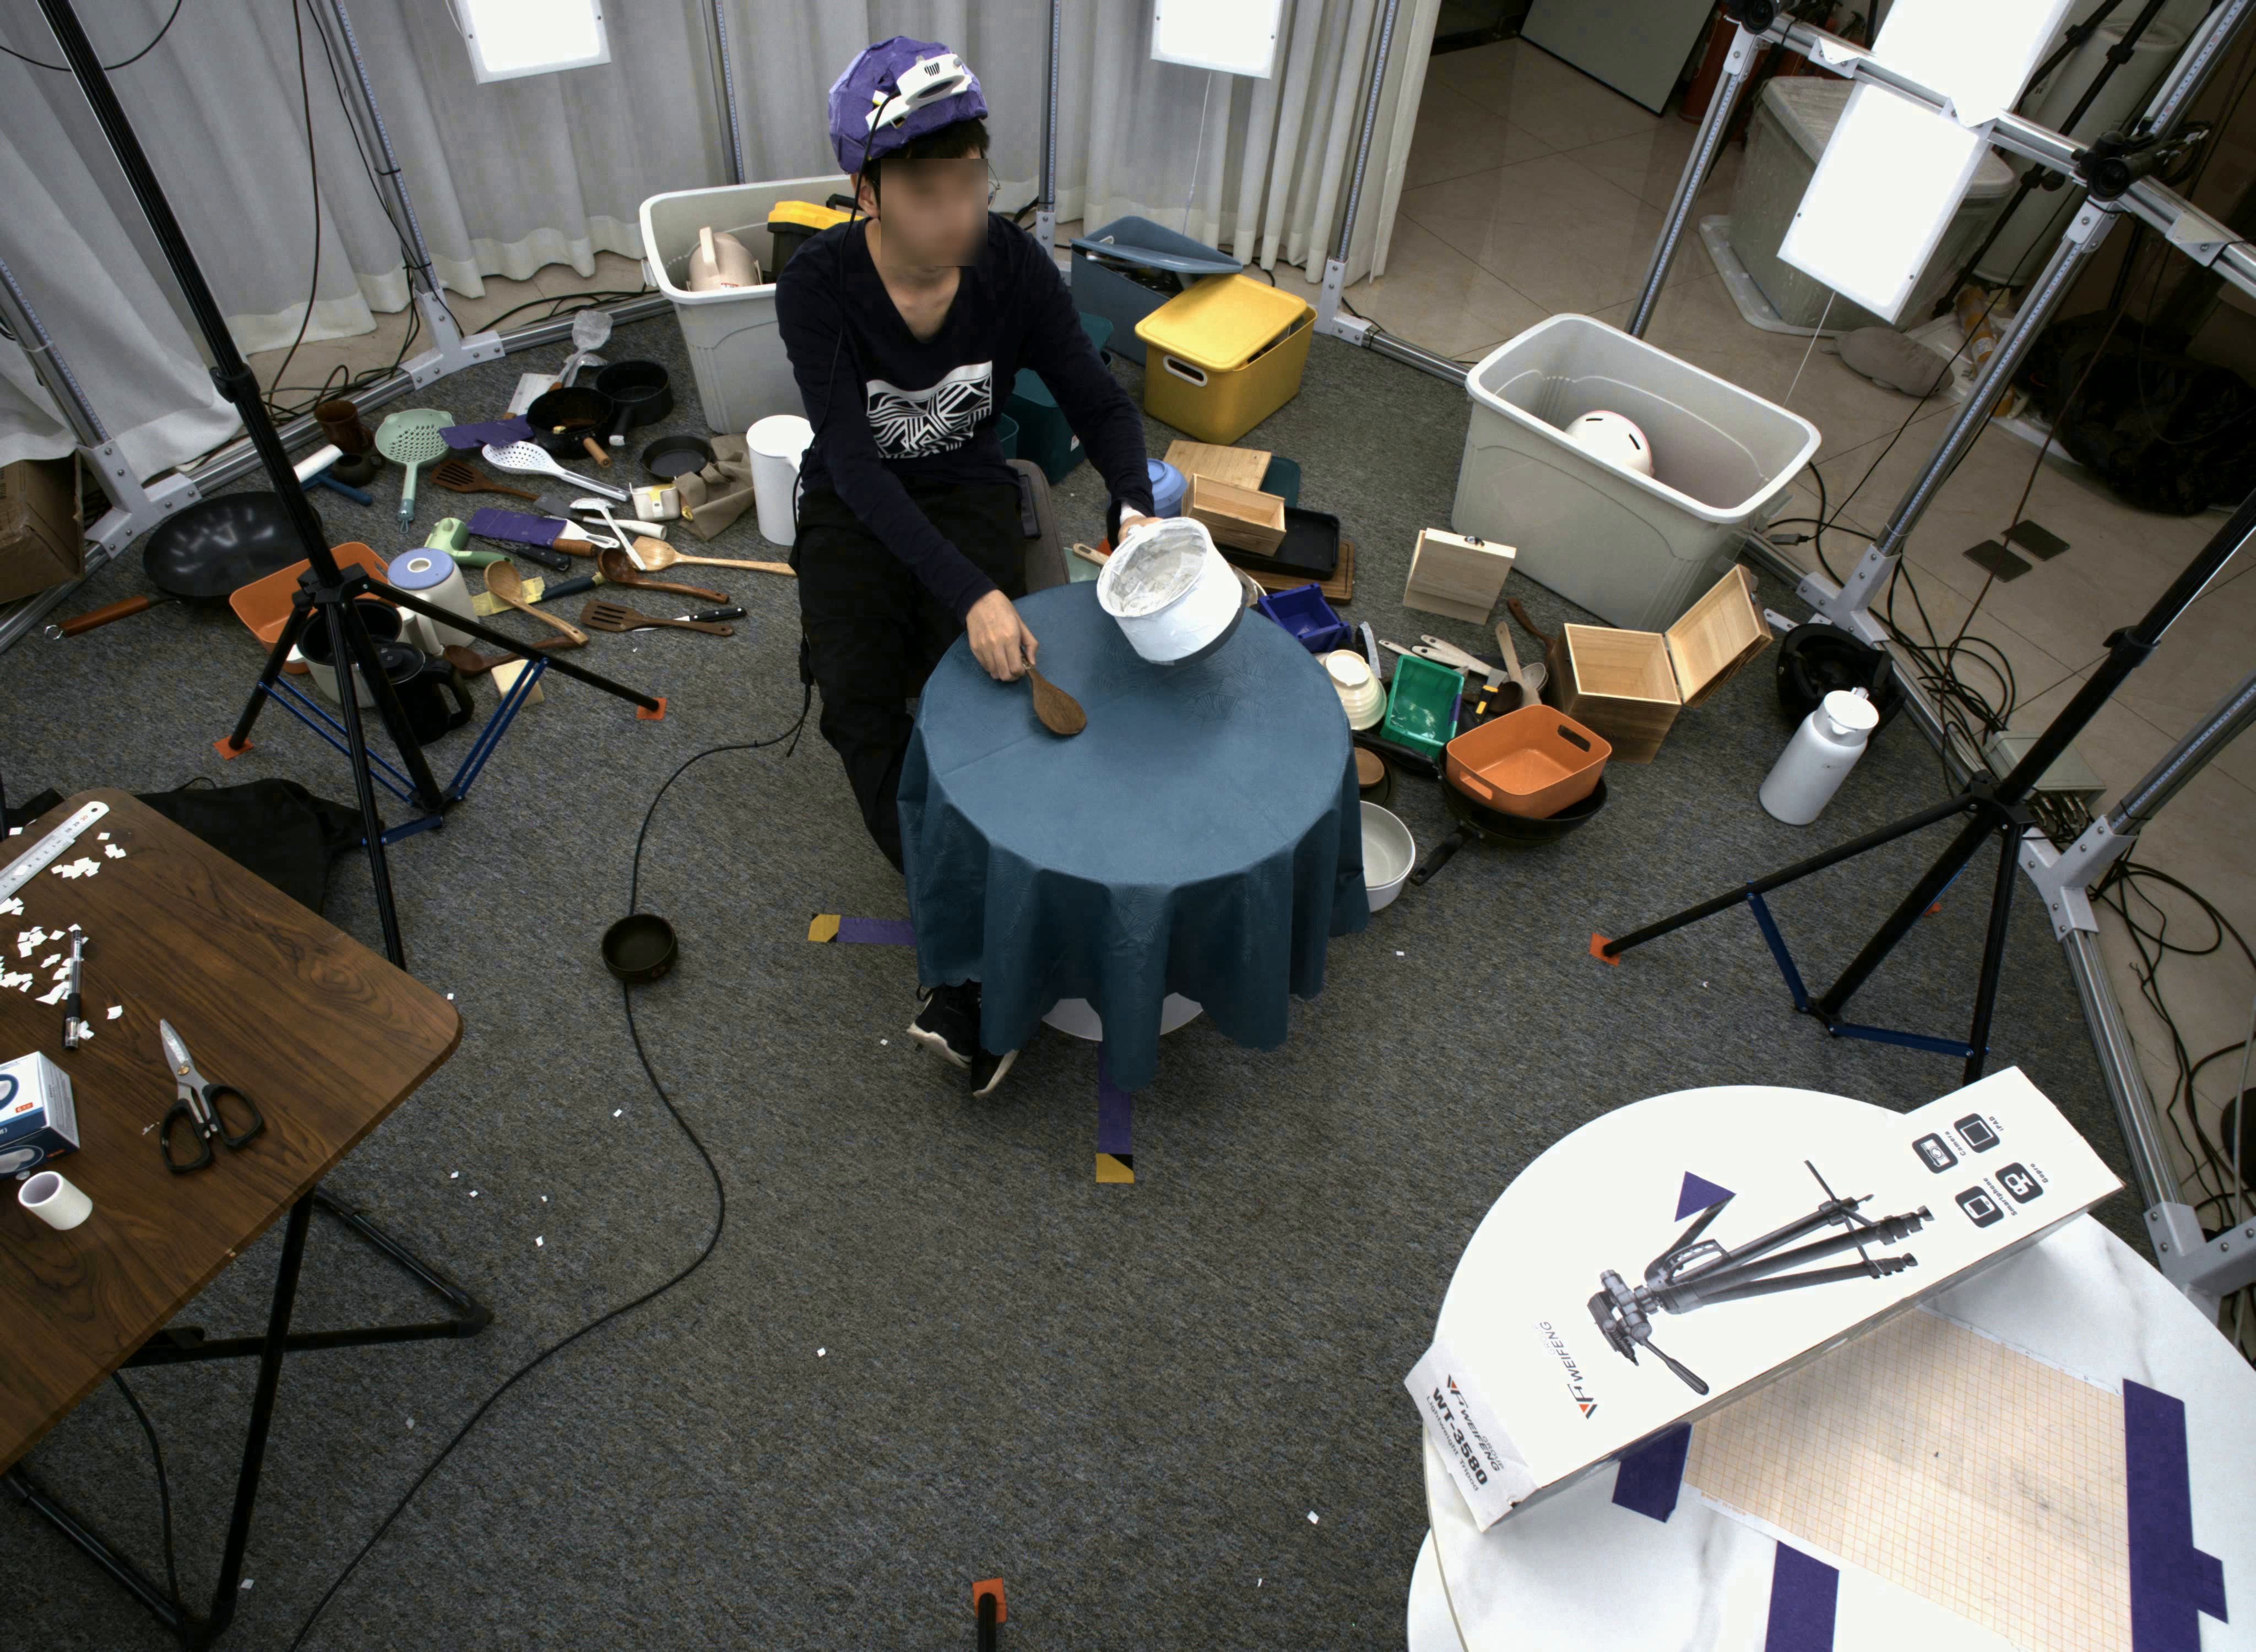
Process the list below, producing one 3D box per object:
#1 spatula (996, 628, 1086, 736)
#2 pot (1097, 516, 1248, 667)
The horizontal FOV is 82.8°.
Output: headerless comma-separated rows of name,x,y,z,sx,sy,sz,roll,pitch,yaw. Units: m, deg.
spatula,-0.129,-0.207,1.814,0.072,0.009,0.220,-12,54,-36
pot,0.056,-0.339,1.806,0.178,0.133,0.239,-32,46,7
